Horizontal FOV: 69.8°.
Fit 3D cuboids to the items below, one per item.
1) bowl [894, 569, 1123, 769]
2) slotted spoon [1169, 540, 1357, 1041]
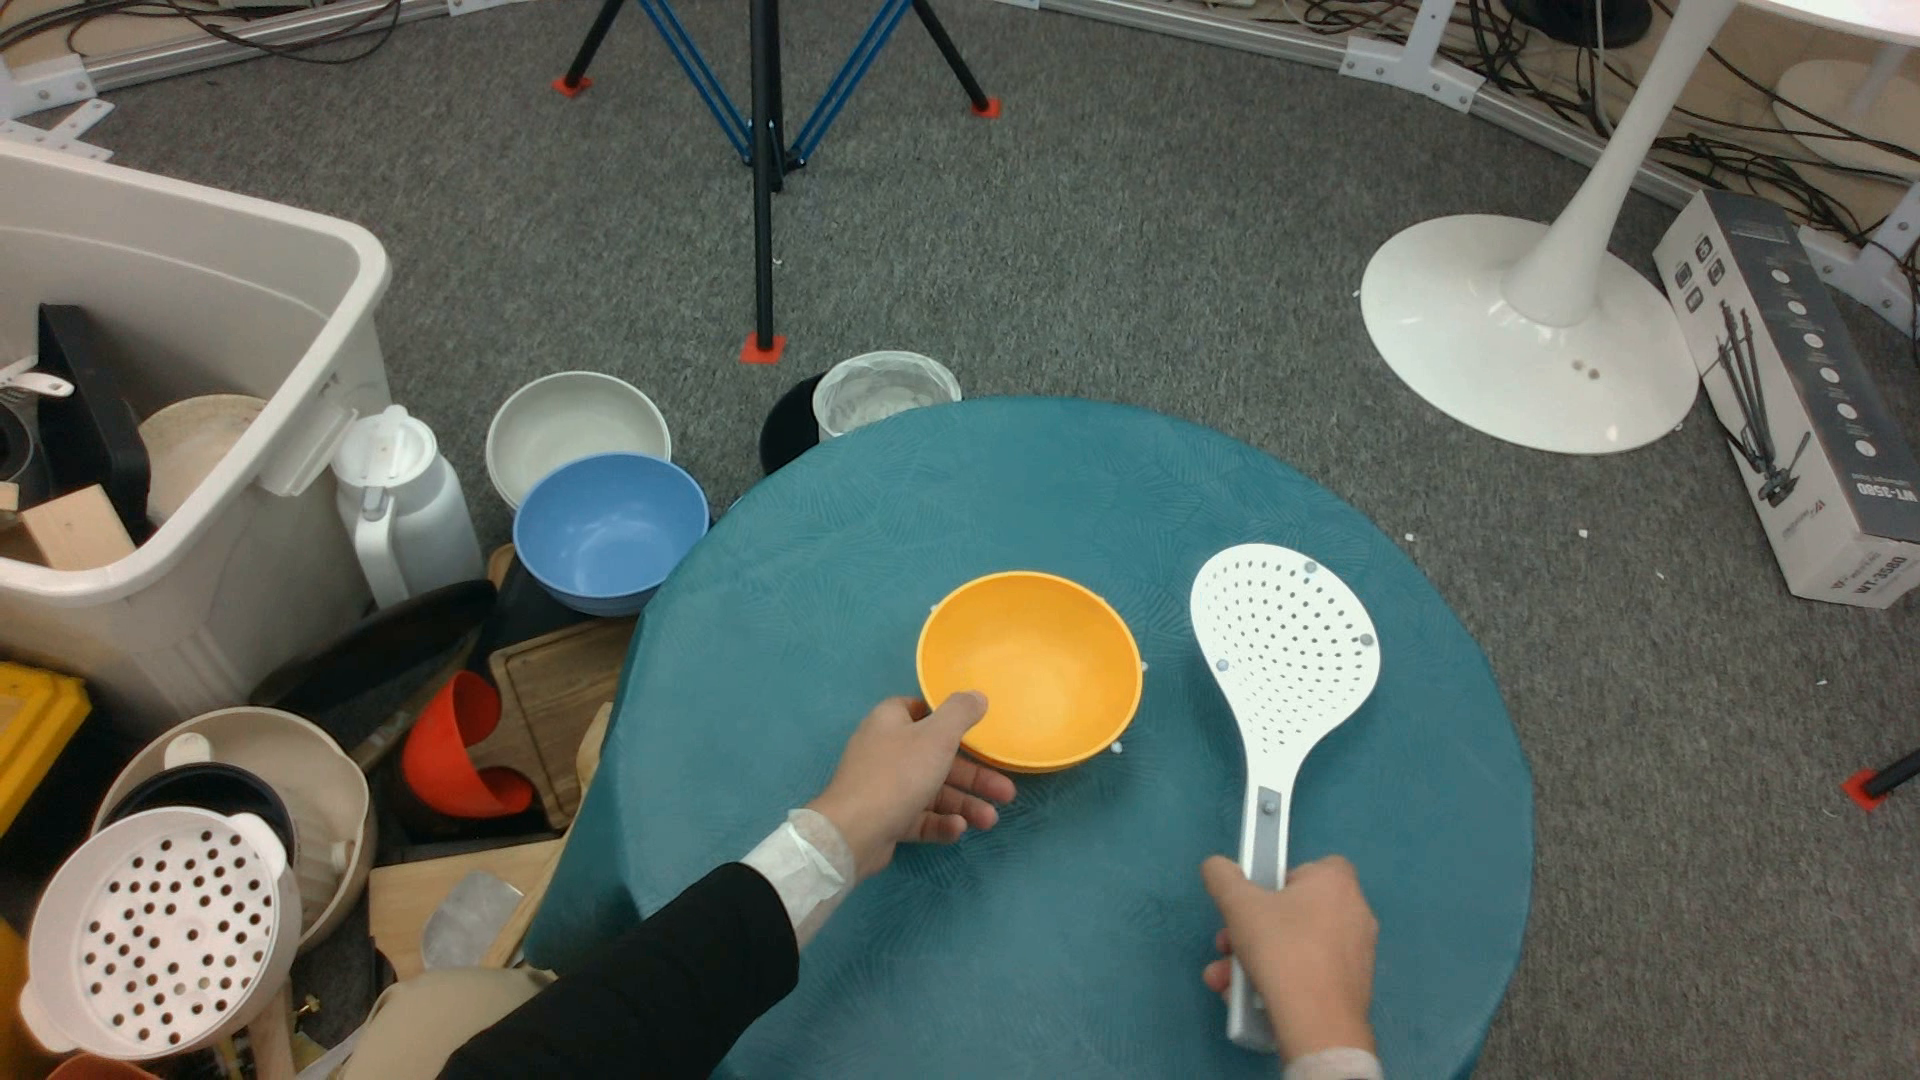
[{"bbox_3d":[0.029,0.093,0.888,0.145,0.060,0.146,3,52,-4],"label":"bowl"},{"bbox_3d":[0.180,0.140,0.861,0.136,0.045,0.351,19,45,-5],"label":"slotted spoon"}]
